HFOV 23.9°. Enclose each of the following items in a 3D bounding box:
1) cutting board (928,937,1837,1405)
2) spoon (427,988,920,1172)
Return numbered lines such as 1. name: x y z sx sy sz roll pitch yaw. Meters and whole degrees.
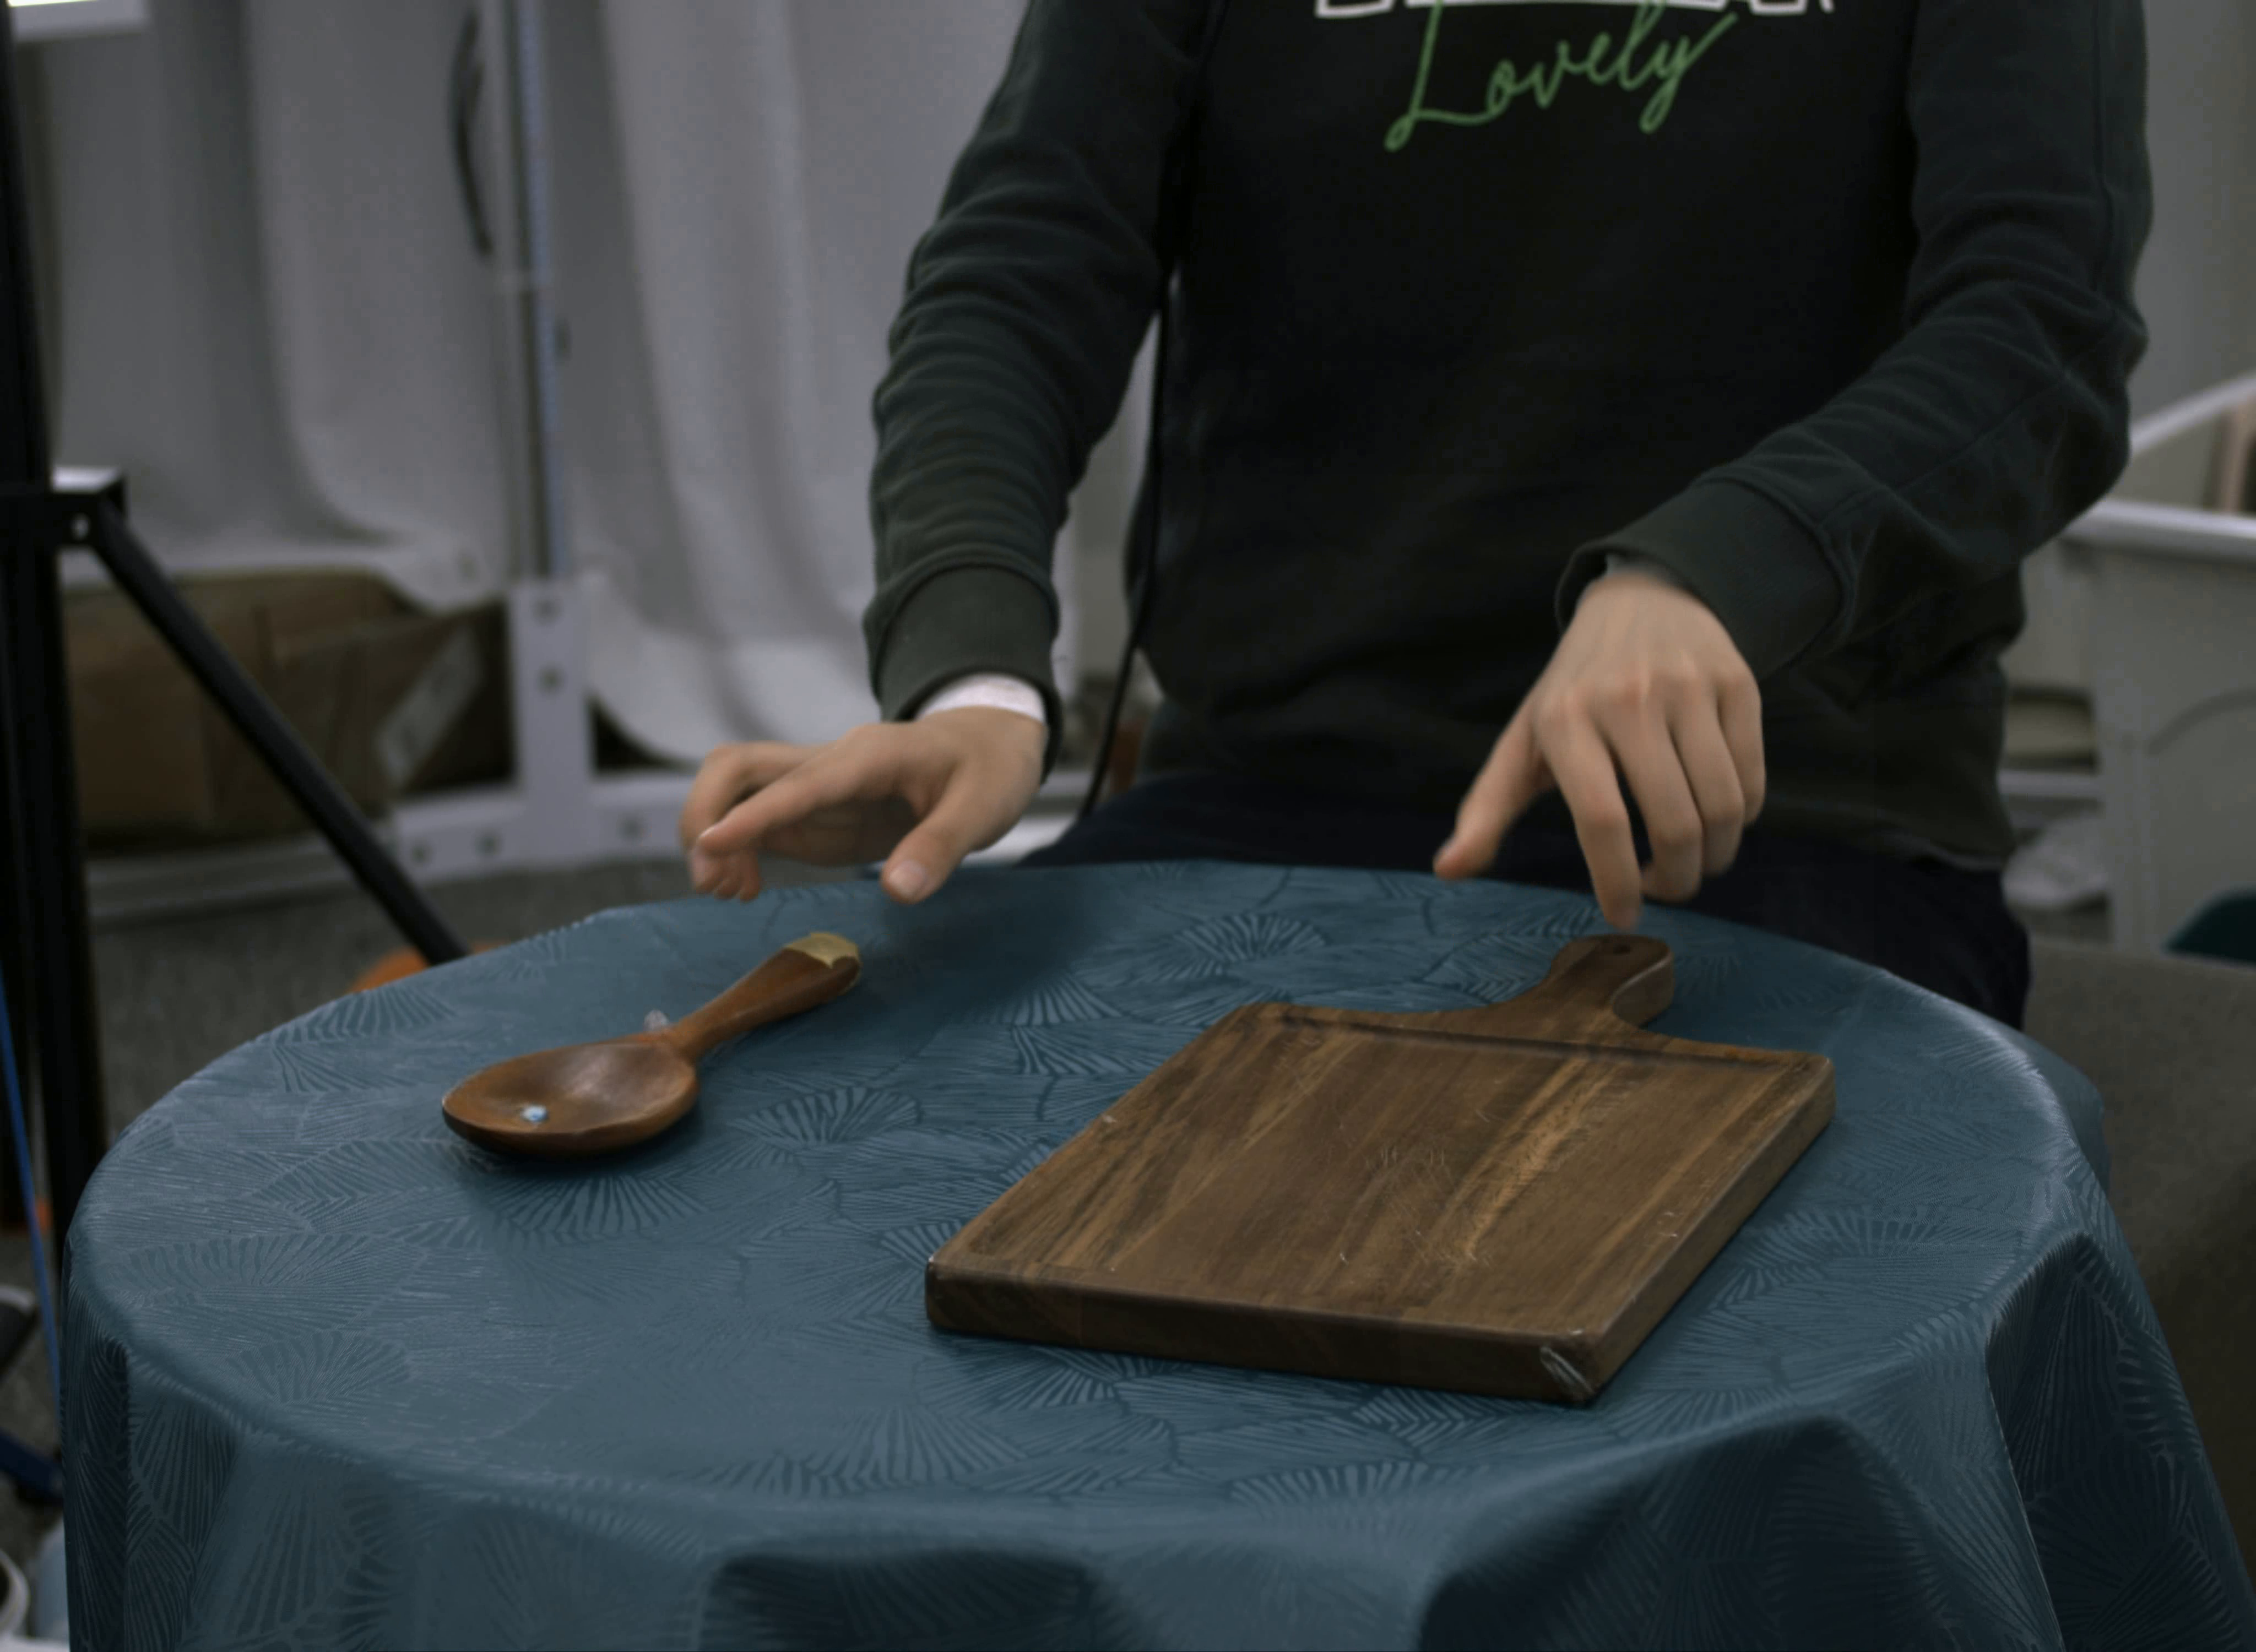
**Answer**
1. cutting board: 0.098 0.092 1.566 0.204 0.023 0.347 3 17 23
2. spoon: -0.135 0.080 1.672 0.077 0.017 0.211 12 17 34
